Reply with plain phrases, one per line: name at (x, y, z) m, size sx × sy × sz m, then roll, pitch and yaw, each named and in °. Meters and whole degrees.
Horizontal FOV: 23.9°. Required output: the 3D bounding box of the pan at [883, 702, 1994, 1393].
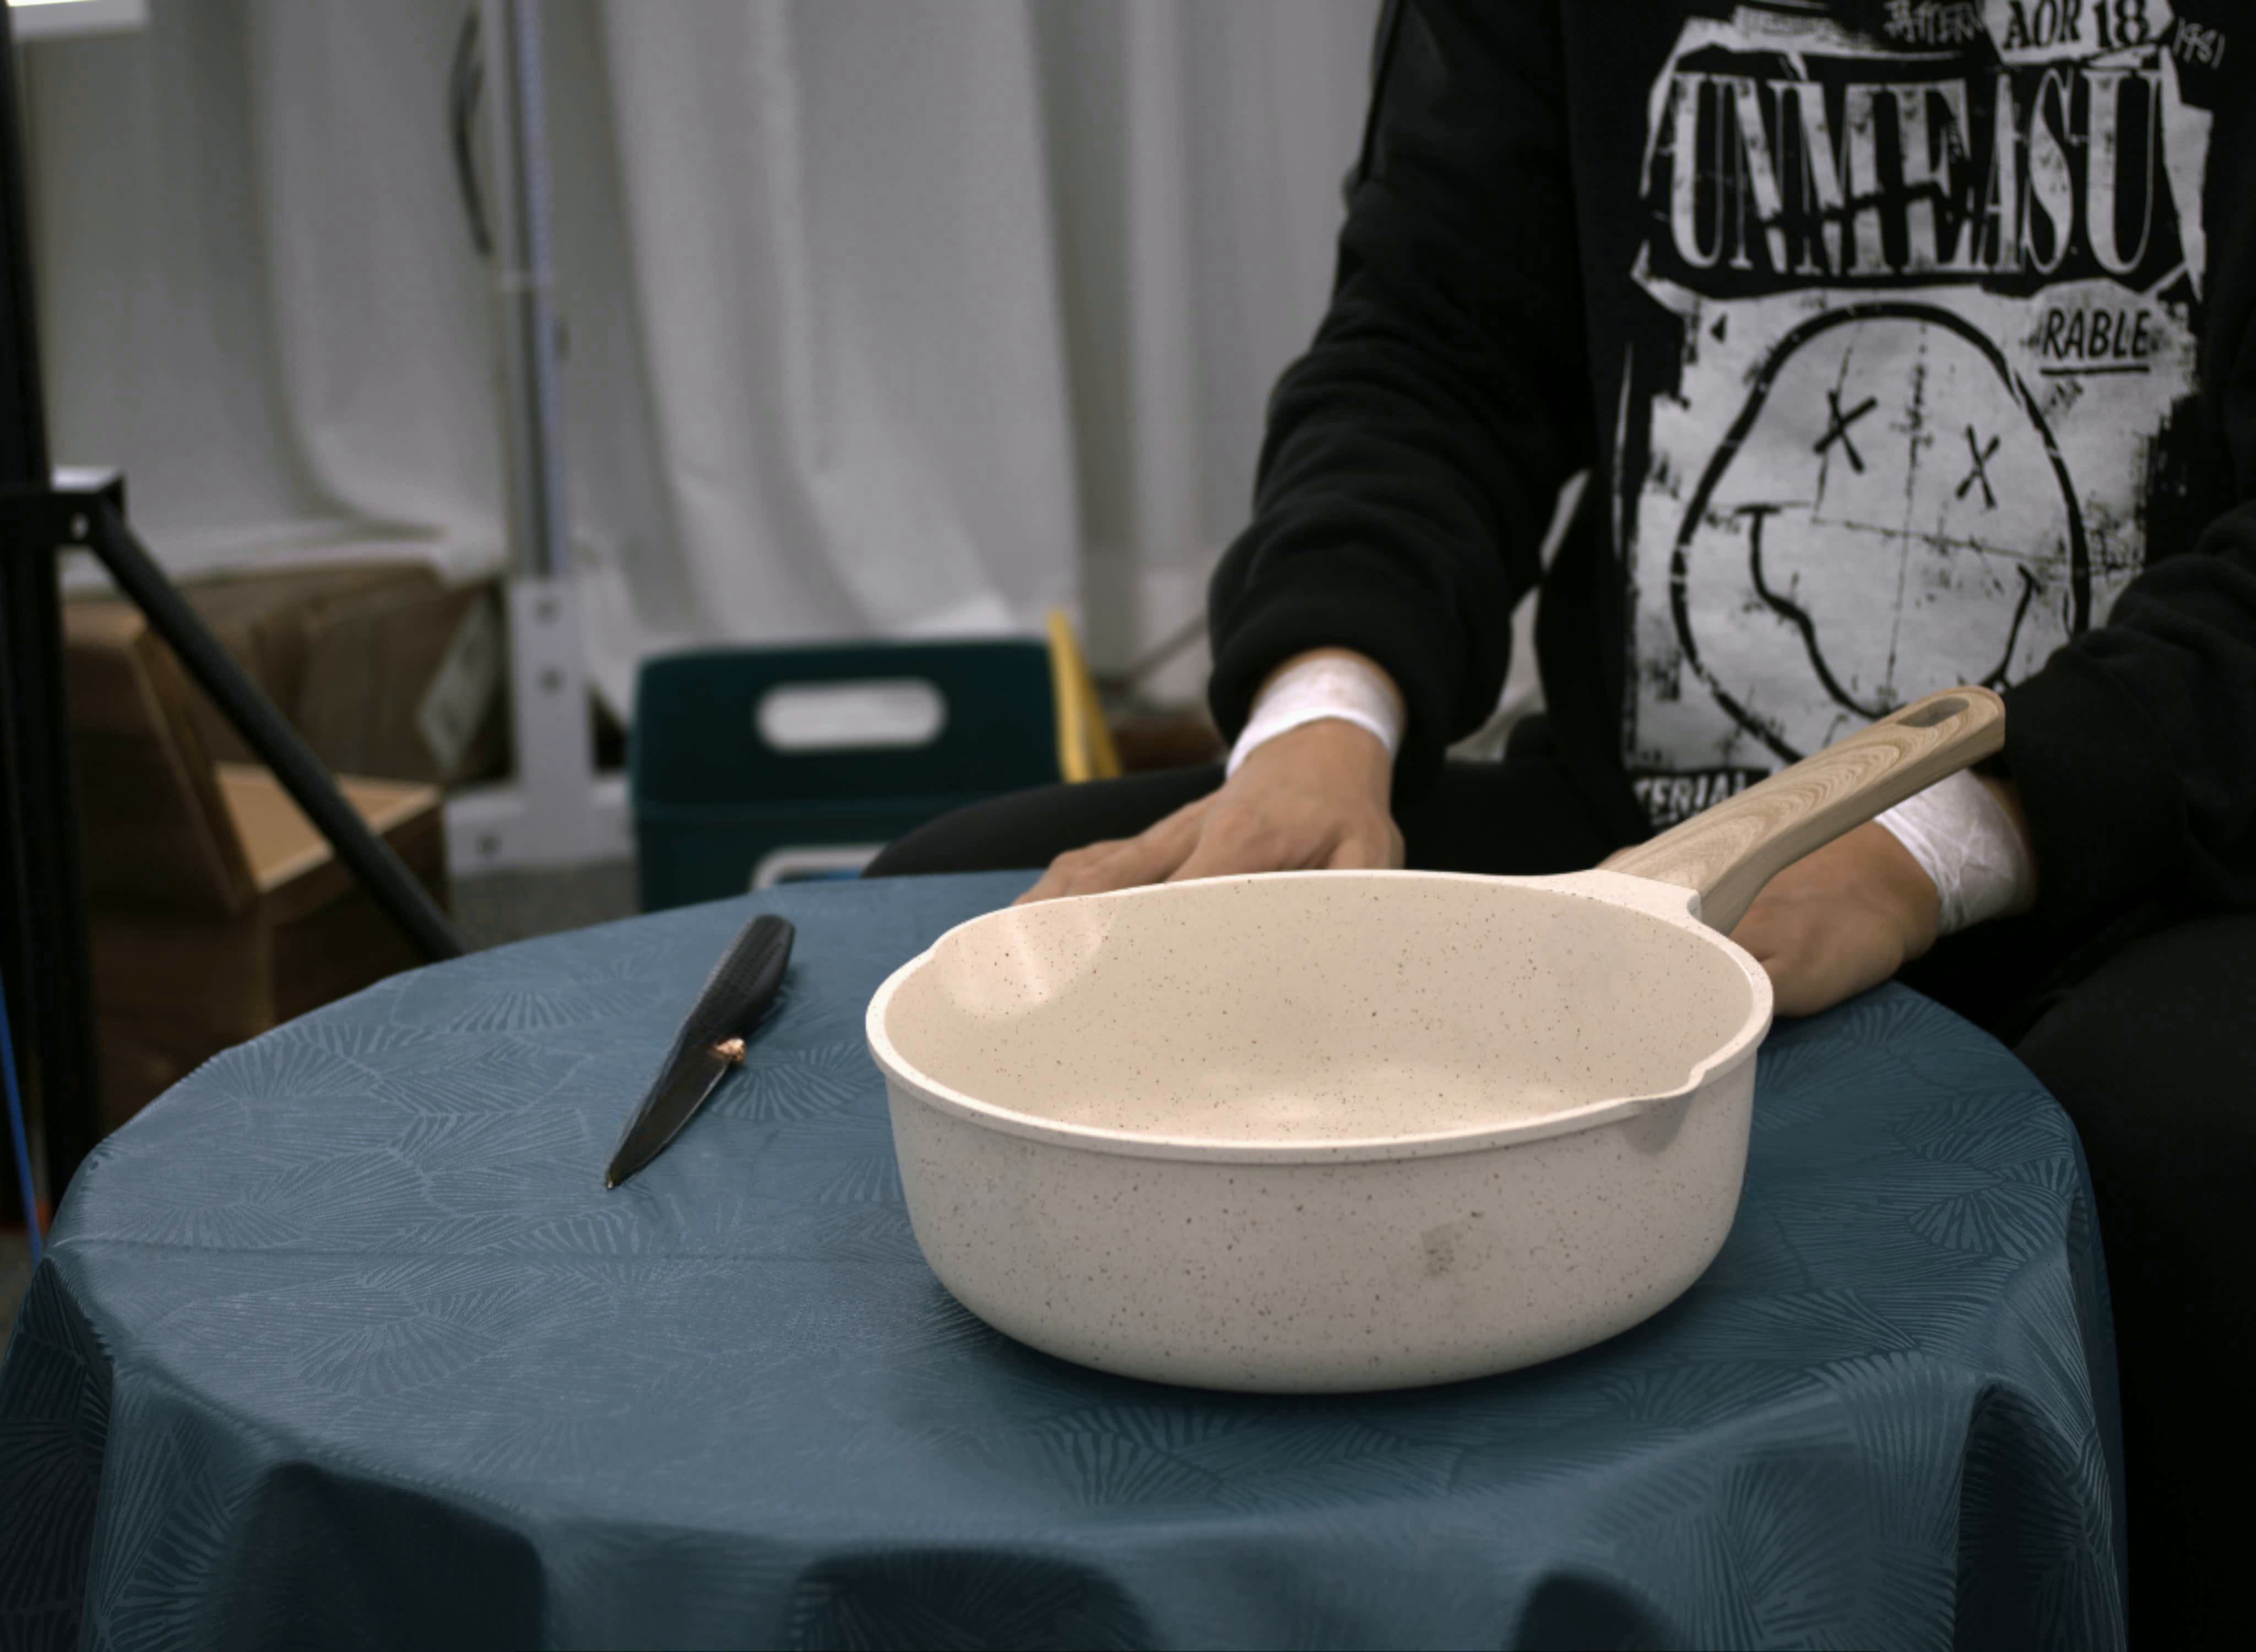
pan at (0.121, 0.059, 1.527) m, size 0.269 × 0.102 × 0.425 m, roll 11°, pitch 20°, yaw 44°

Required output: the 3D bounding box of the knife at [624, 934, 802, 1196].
knife at (-0.134, 0.074, 1.681) m, size 0.026 × 0.017 × 0.225 m, roll 15°, pitch 19°, yaw 4°
